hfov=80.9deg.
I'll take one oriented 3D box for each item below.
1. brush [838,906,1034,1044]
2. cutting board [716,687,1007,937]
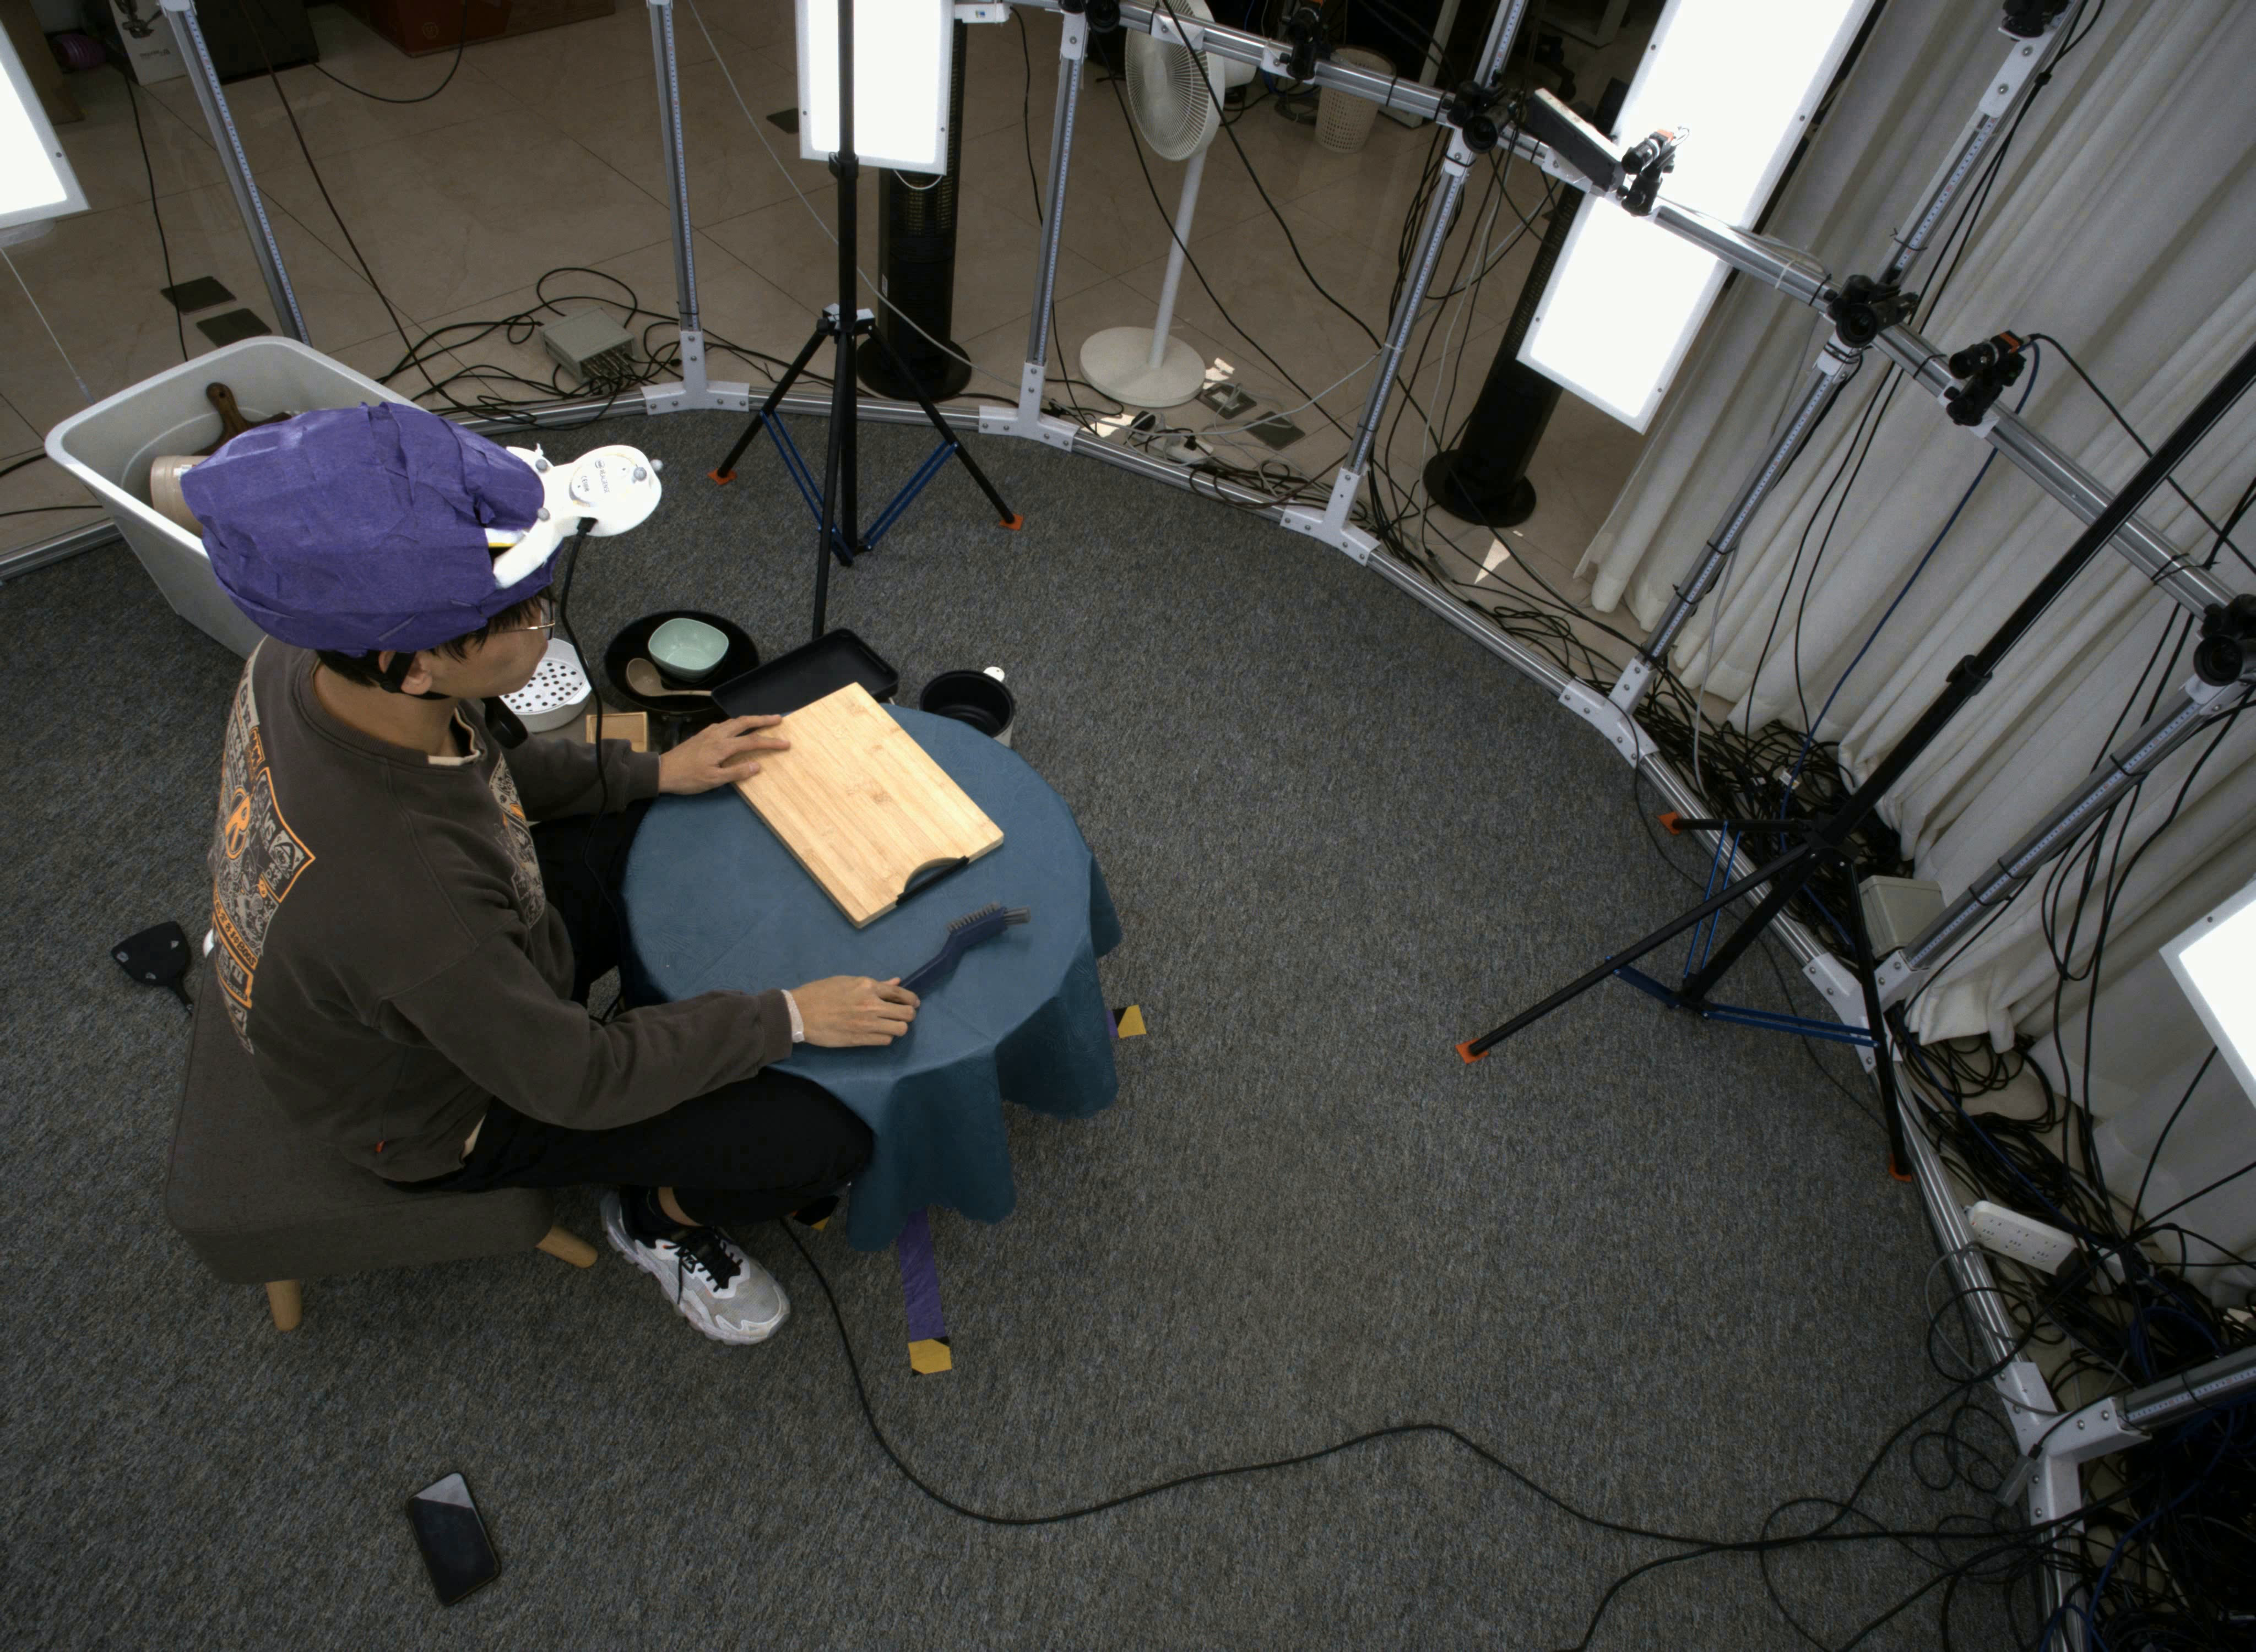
[{"bbox_3d":[-0.238,0.180,1.620,0.092,0.035,0.273,18,47,36],"label":"brush"},{"bbox_3d":[-0.363,-0.033,1.767,0.251,0.024,0.341,-35,68,-31],"label":"cutting board"}]
